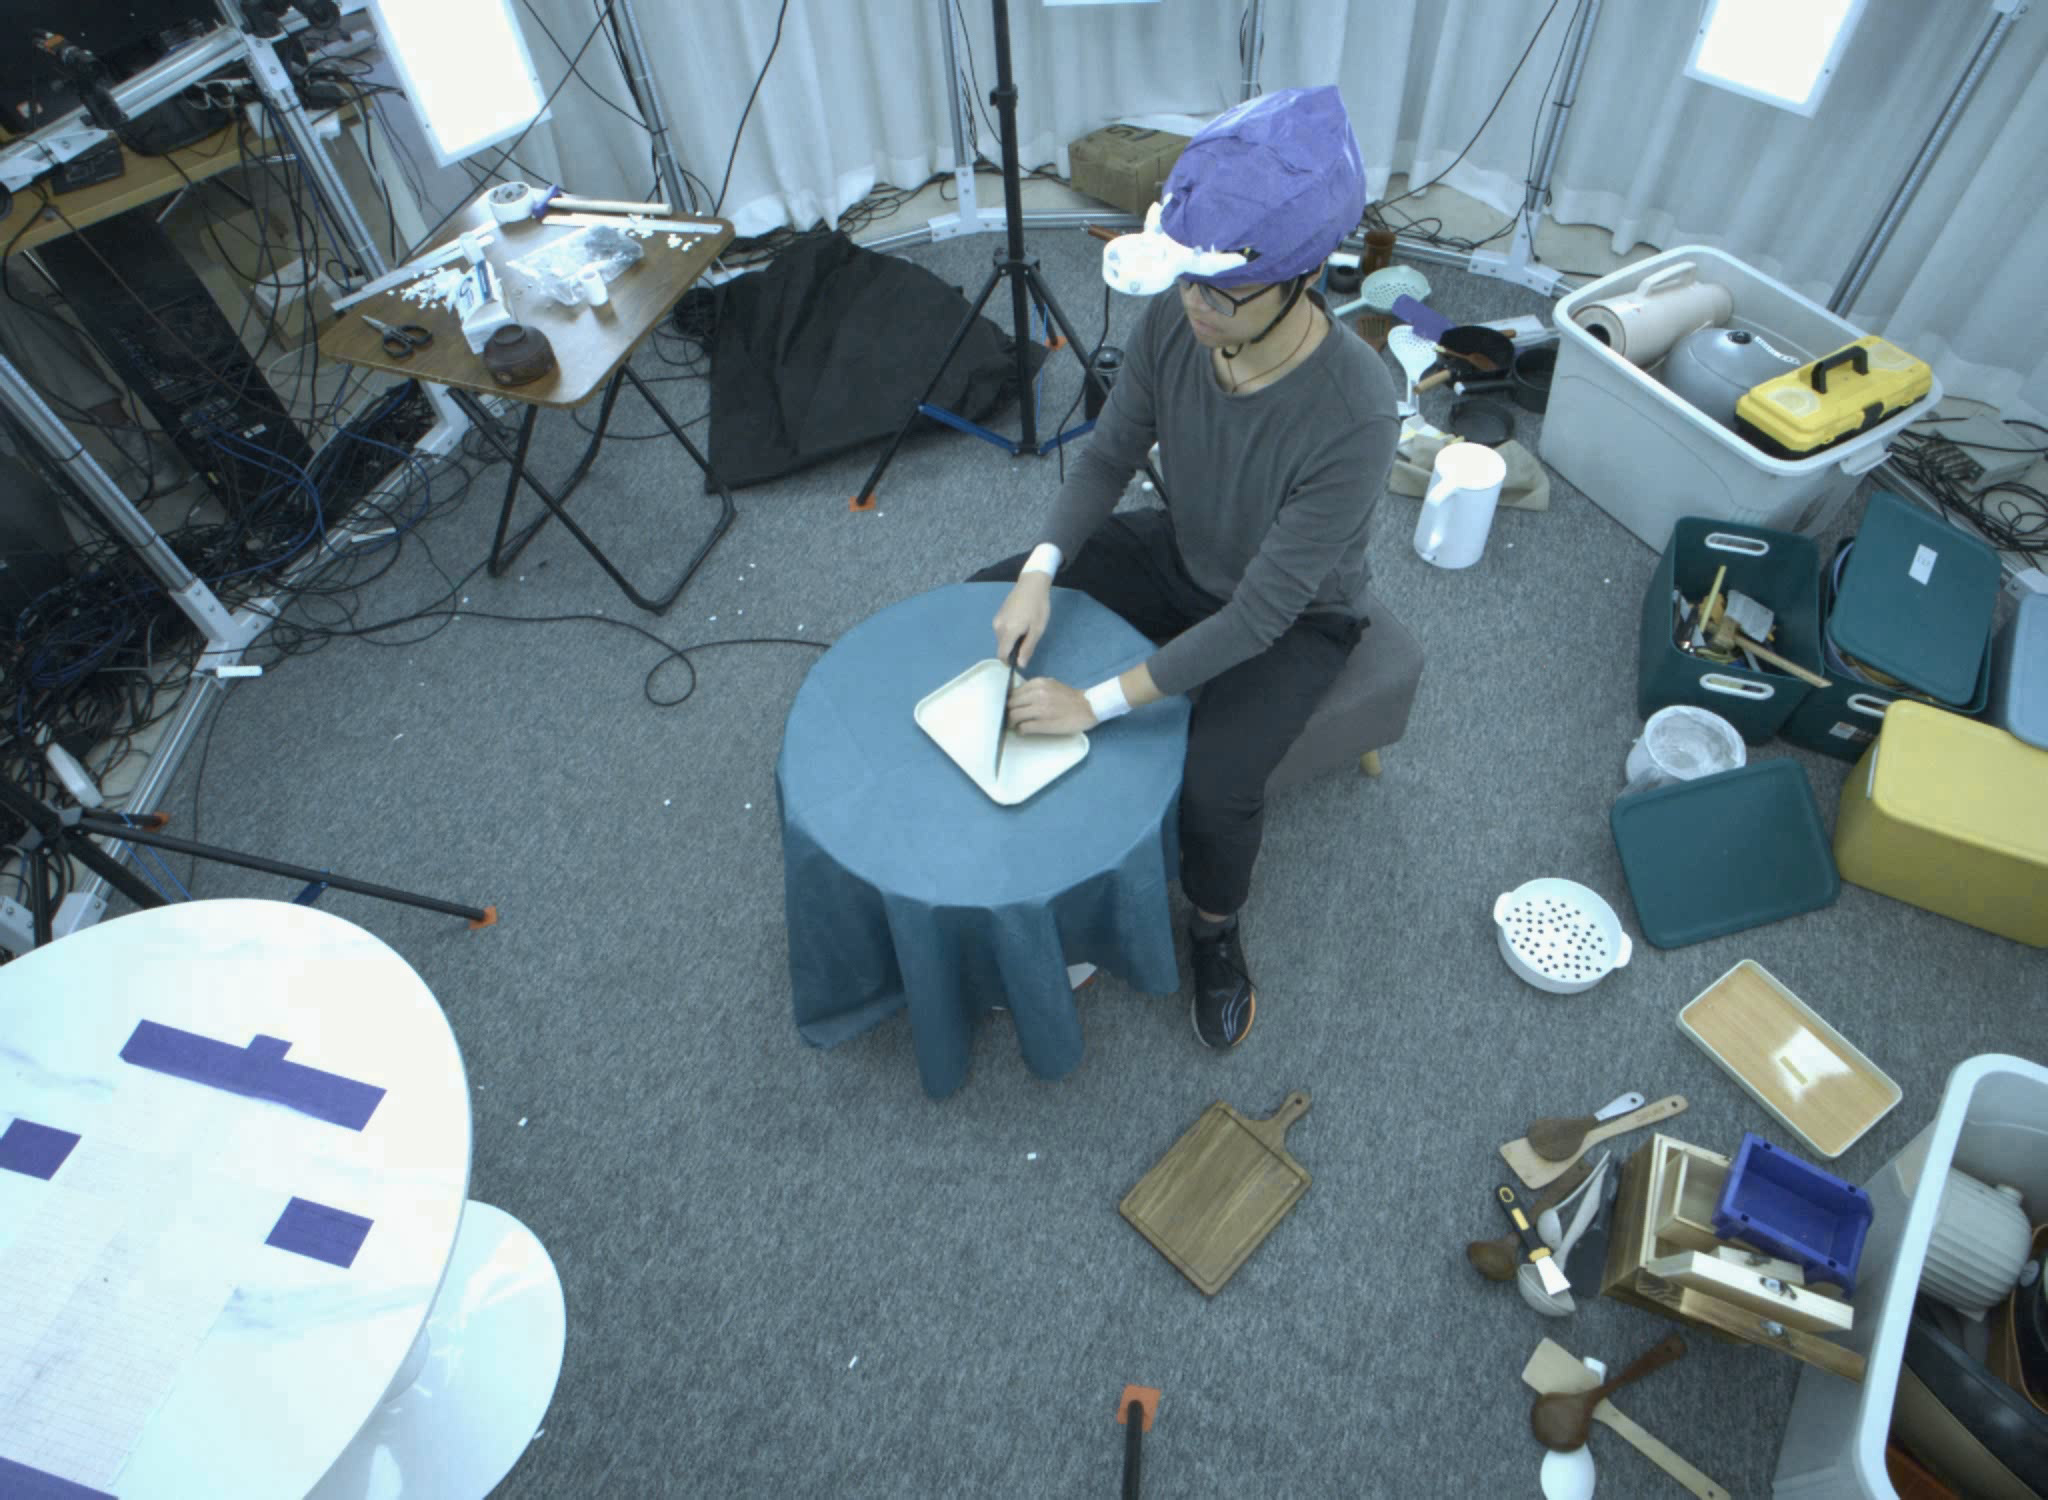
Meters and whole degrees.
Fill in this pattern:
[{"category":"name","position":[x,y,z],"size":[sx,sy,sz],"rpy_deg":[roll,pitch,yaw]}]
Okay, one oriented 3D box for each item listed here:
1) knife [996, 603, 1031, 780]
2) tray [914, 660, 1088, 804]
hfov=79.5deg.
[{"category":"knife","position":[-0.019,-0.096,1.810],"size":[0.021,0.081,0.300],"rpy_deg":[6,60,5]},{"category":"tray","position":[-0.035,-0.028,1.805],"size":[0.172,0.017,0.235],"rpy_deg":[-34,60,-22]}]
